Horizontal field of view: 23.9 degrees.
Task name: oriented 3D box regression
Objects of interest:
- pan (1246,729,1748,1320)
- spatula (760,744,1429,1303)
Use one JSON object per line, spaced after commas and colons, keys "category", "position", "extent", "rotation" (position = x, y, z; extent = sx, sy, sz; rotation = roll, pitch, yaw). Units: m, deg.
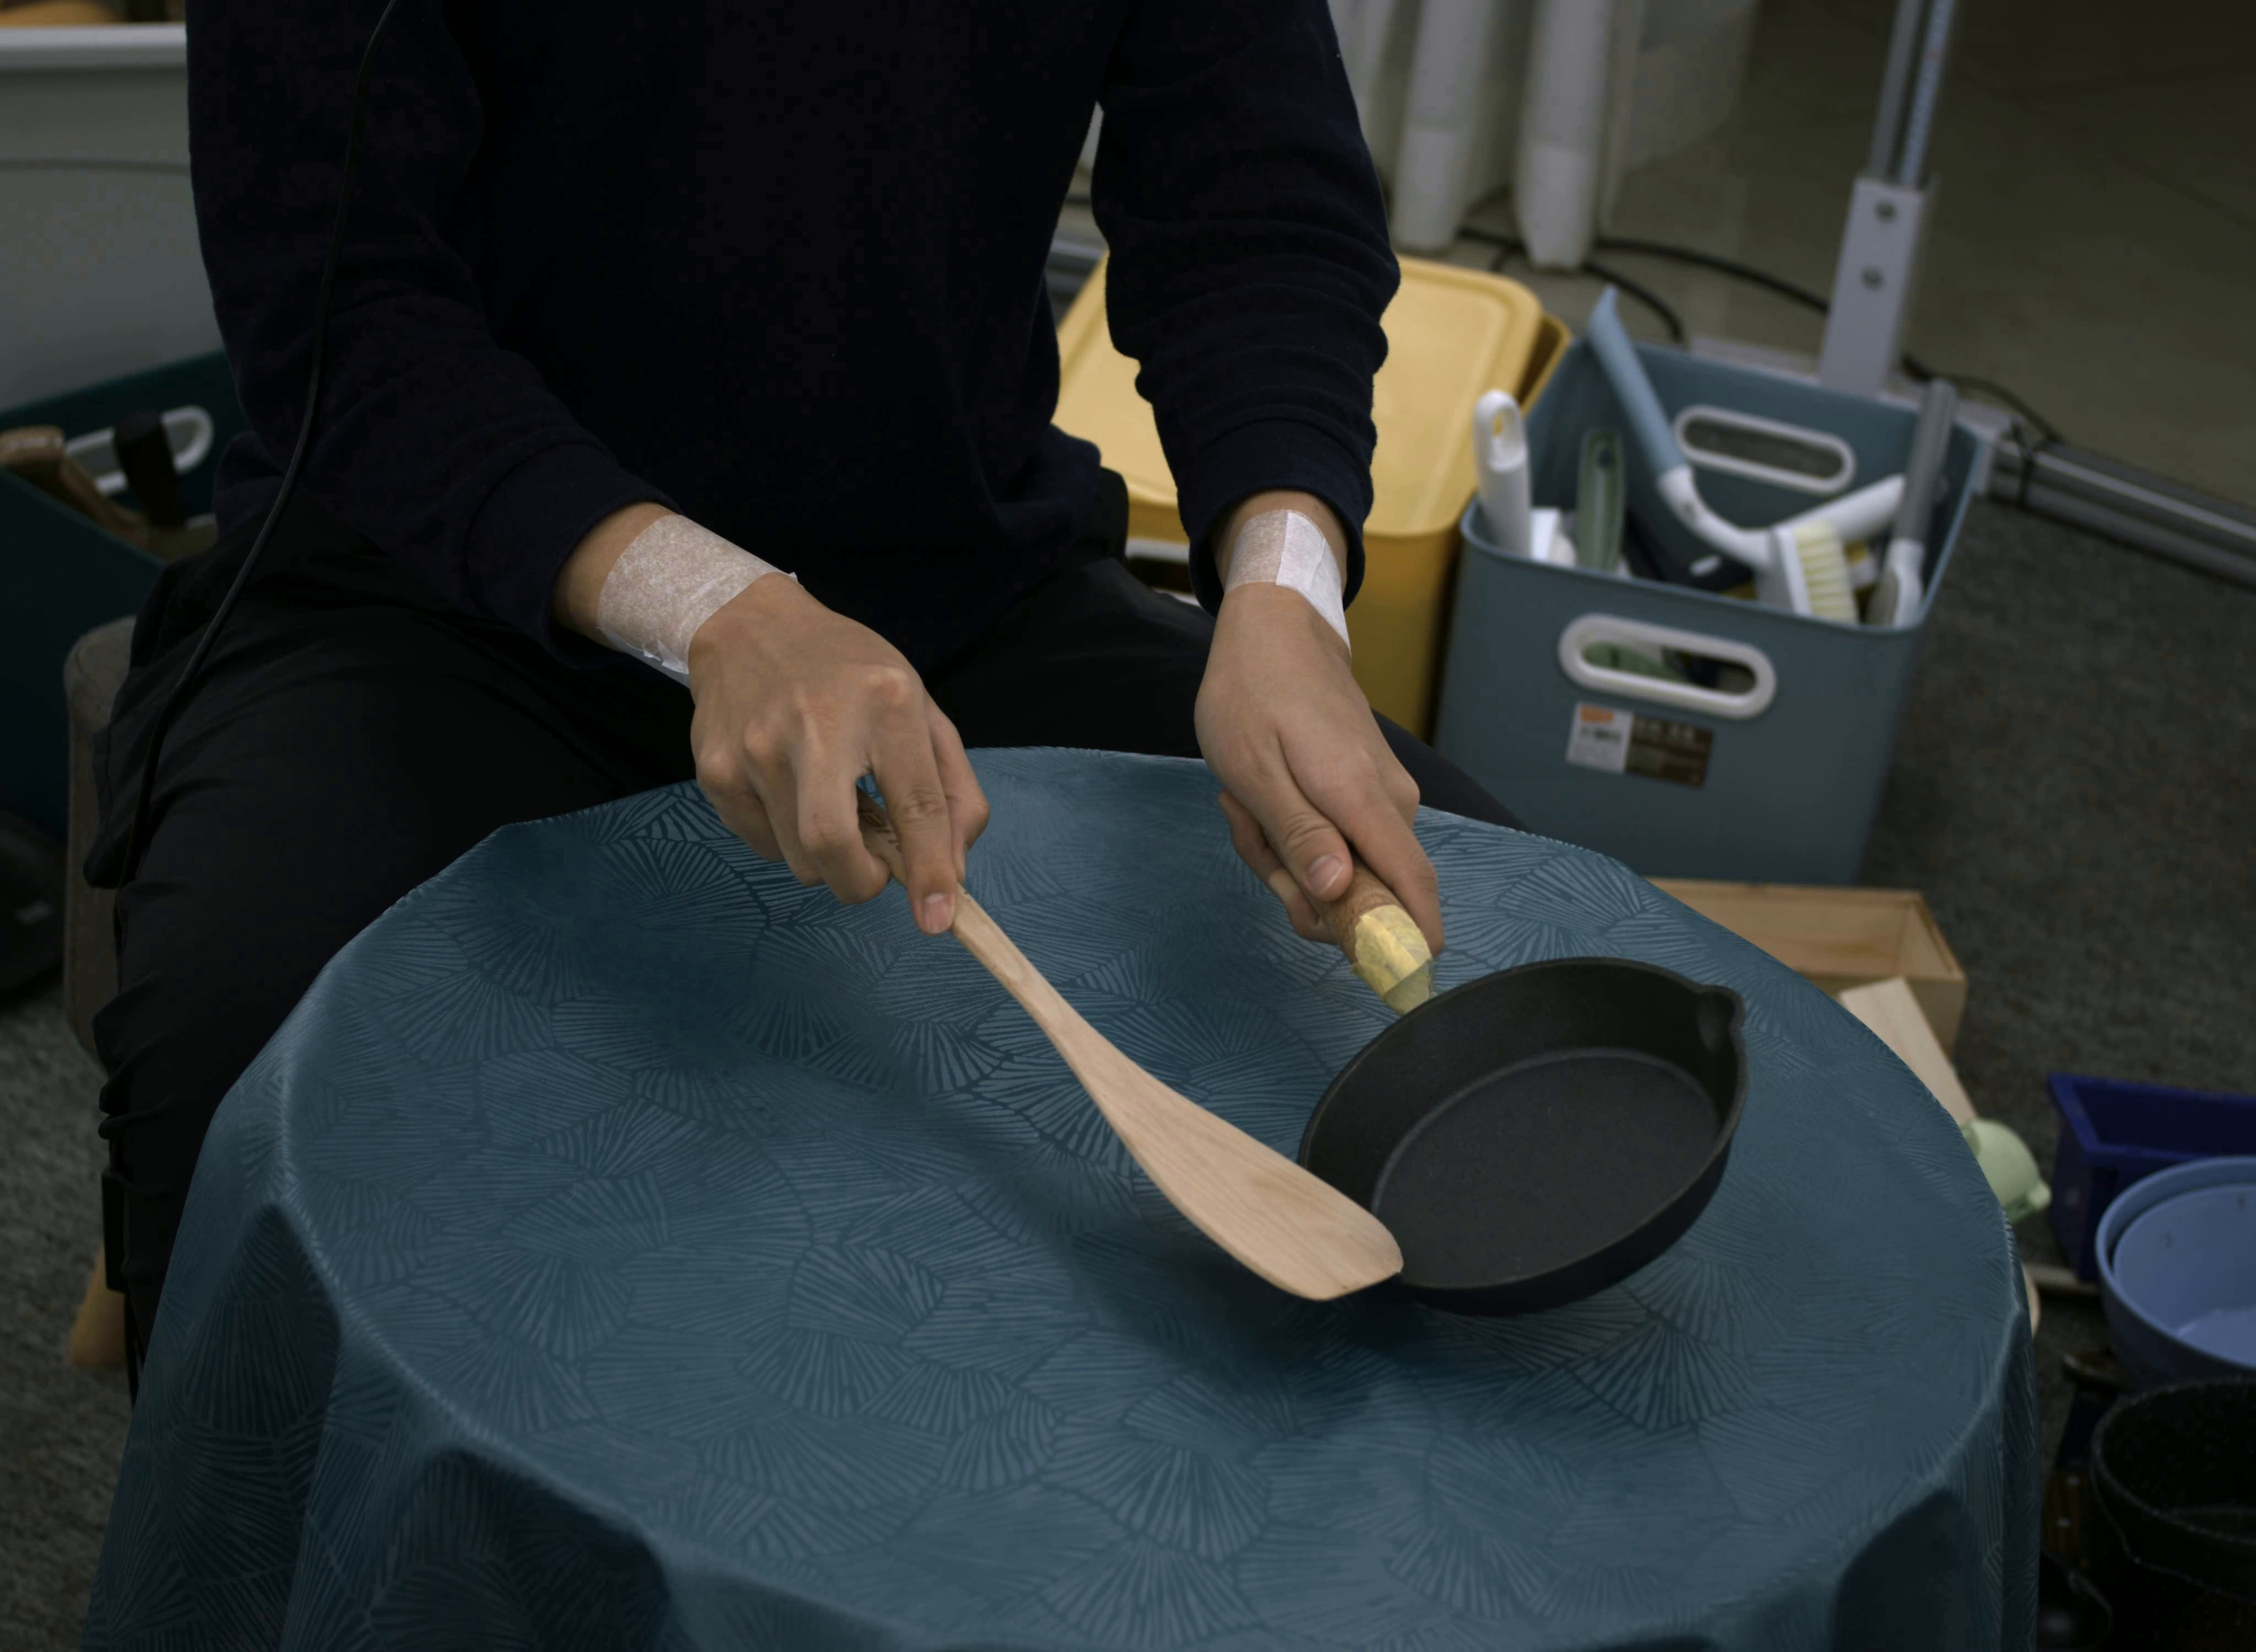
{"category": "pan", "position": [0.106, 0.061, 1.836], "extent": [0.168, 0.049, 0.327], "rotation": [-28, 35, -3]}
{"category": "spatula", "position": [-0.021, 0.062, 1.796], "extent": [0.079, 0.016, 0.330], "rotation": [-2, 36, -48]}
